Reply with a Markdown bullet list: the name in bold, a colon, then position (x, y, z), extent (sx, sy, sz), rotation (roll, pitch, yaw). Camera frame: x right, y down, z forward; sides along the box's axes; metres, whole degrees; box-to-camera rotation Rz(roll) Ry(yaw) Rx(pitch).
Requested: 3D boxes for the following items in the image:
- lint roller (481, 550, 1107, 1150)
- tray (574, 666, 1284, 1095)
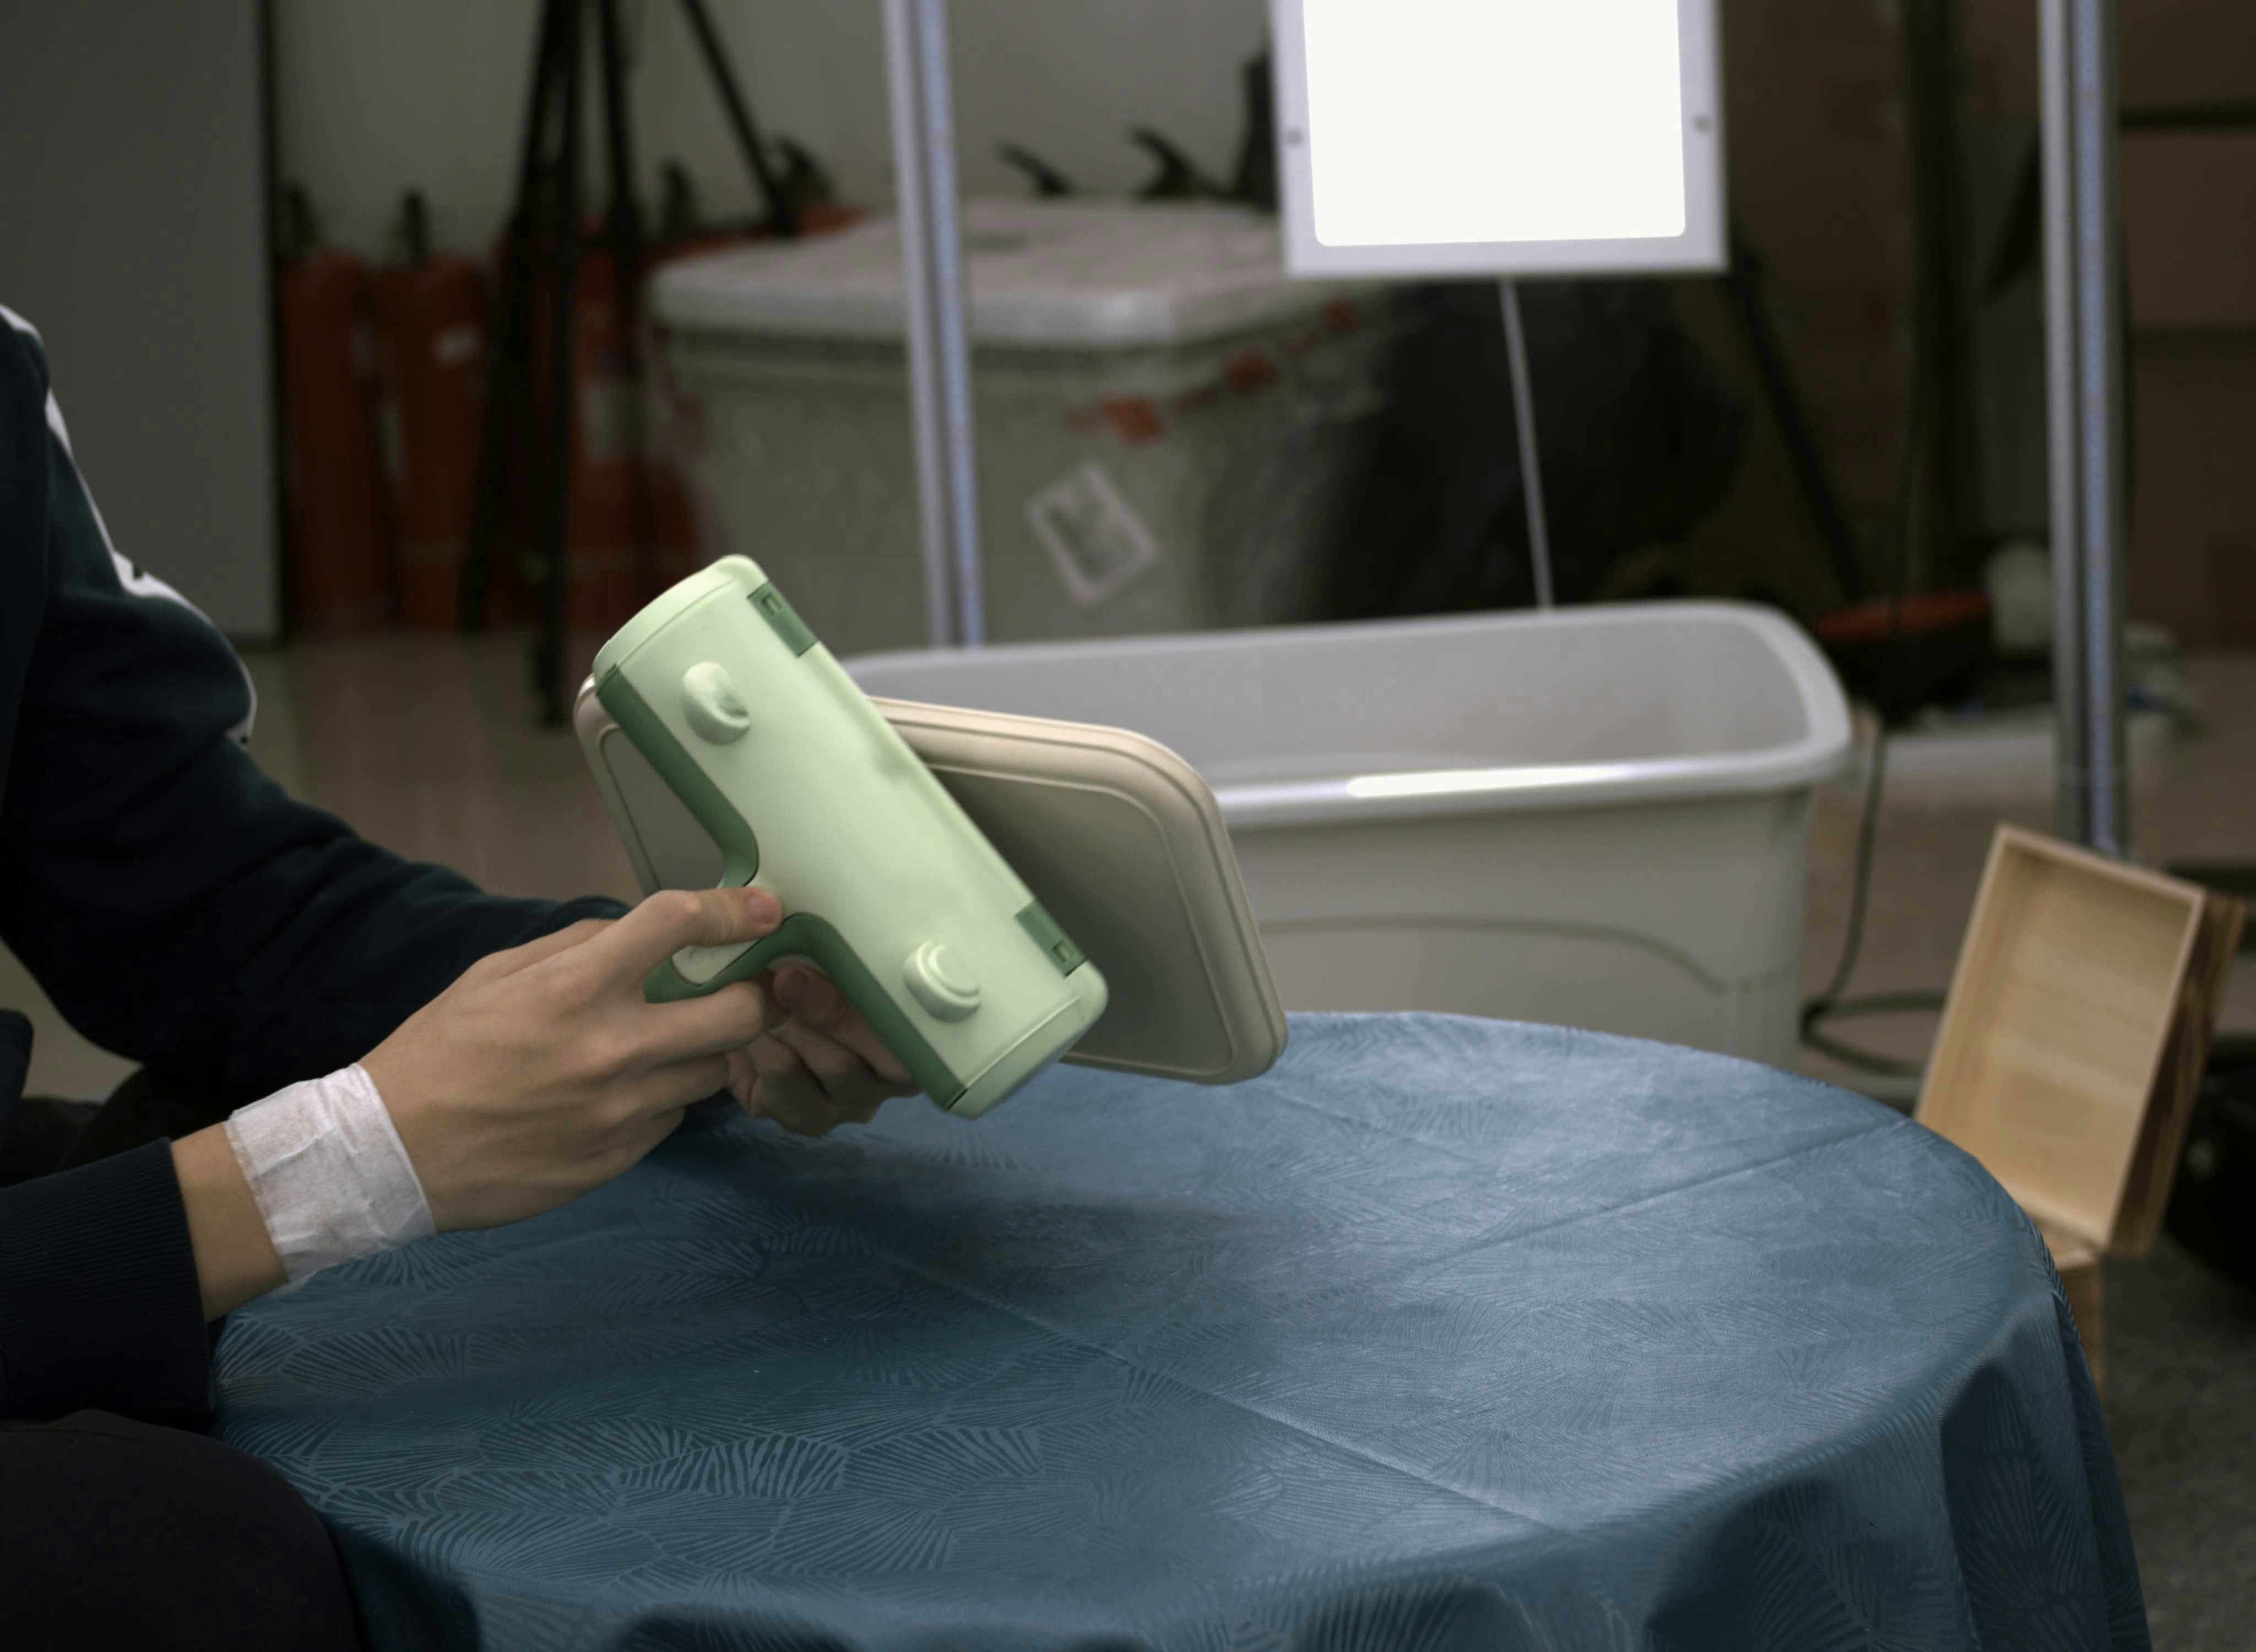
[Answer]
- **lint roller**: position (-0.134, 0.038, 1.760), extent (0.182, 0.199, 0.082), rotation (-39, -6, -8)
- **tray**: position (-0.069, 0.021, 1.849), extent (0.243, 0.171, 0.017), rotation (8, 49, 26)
